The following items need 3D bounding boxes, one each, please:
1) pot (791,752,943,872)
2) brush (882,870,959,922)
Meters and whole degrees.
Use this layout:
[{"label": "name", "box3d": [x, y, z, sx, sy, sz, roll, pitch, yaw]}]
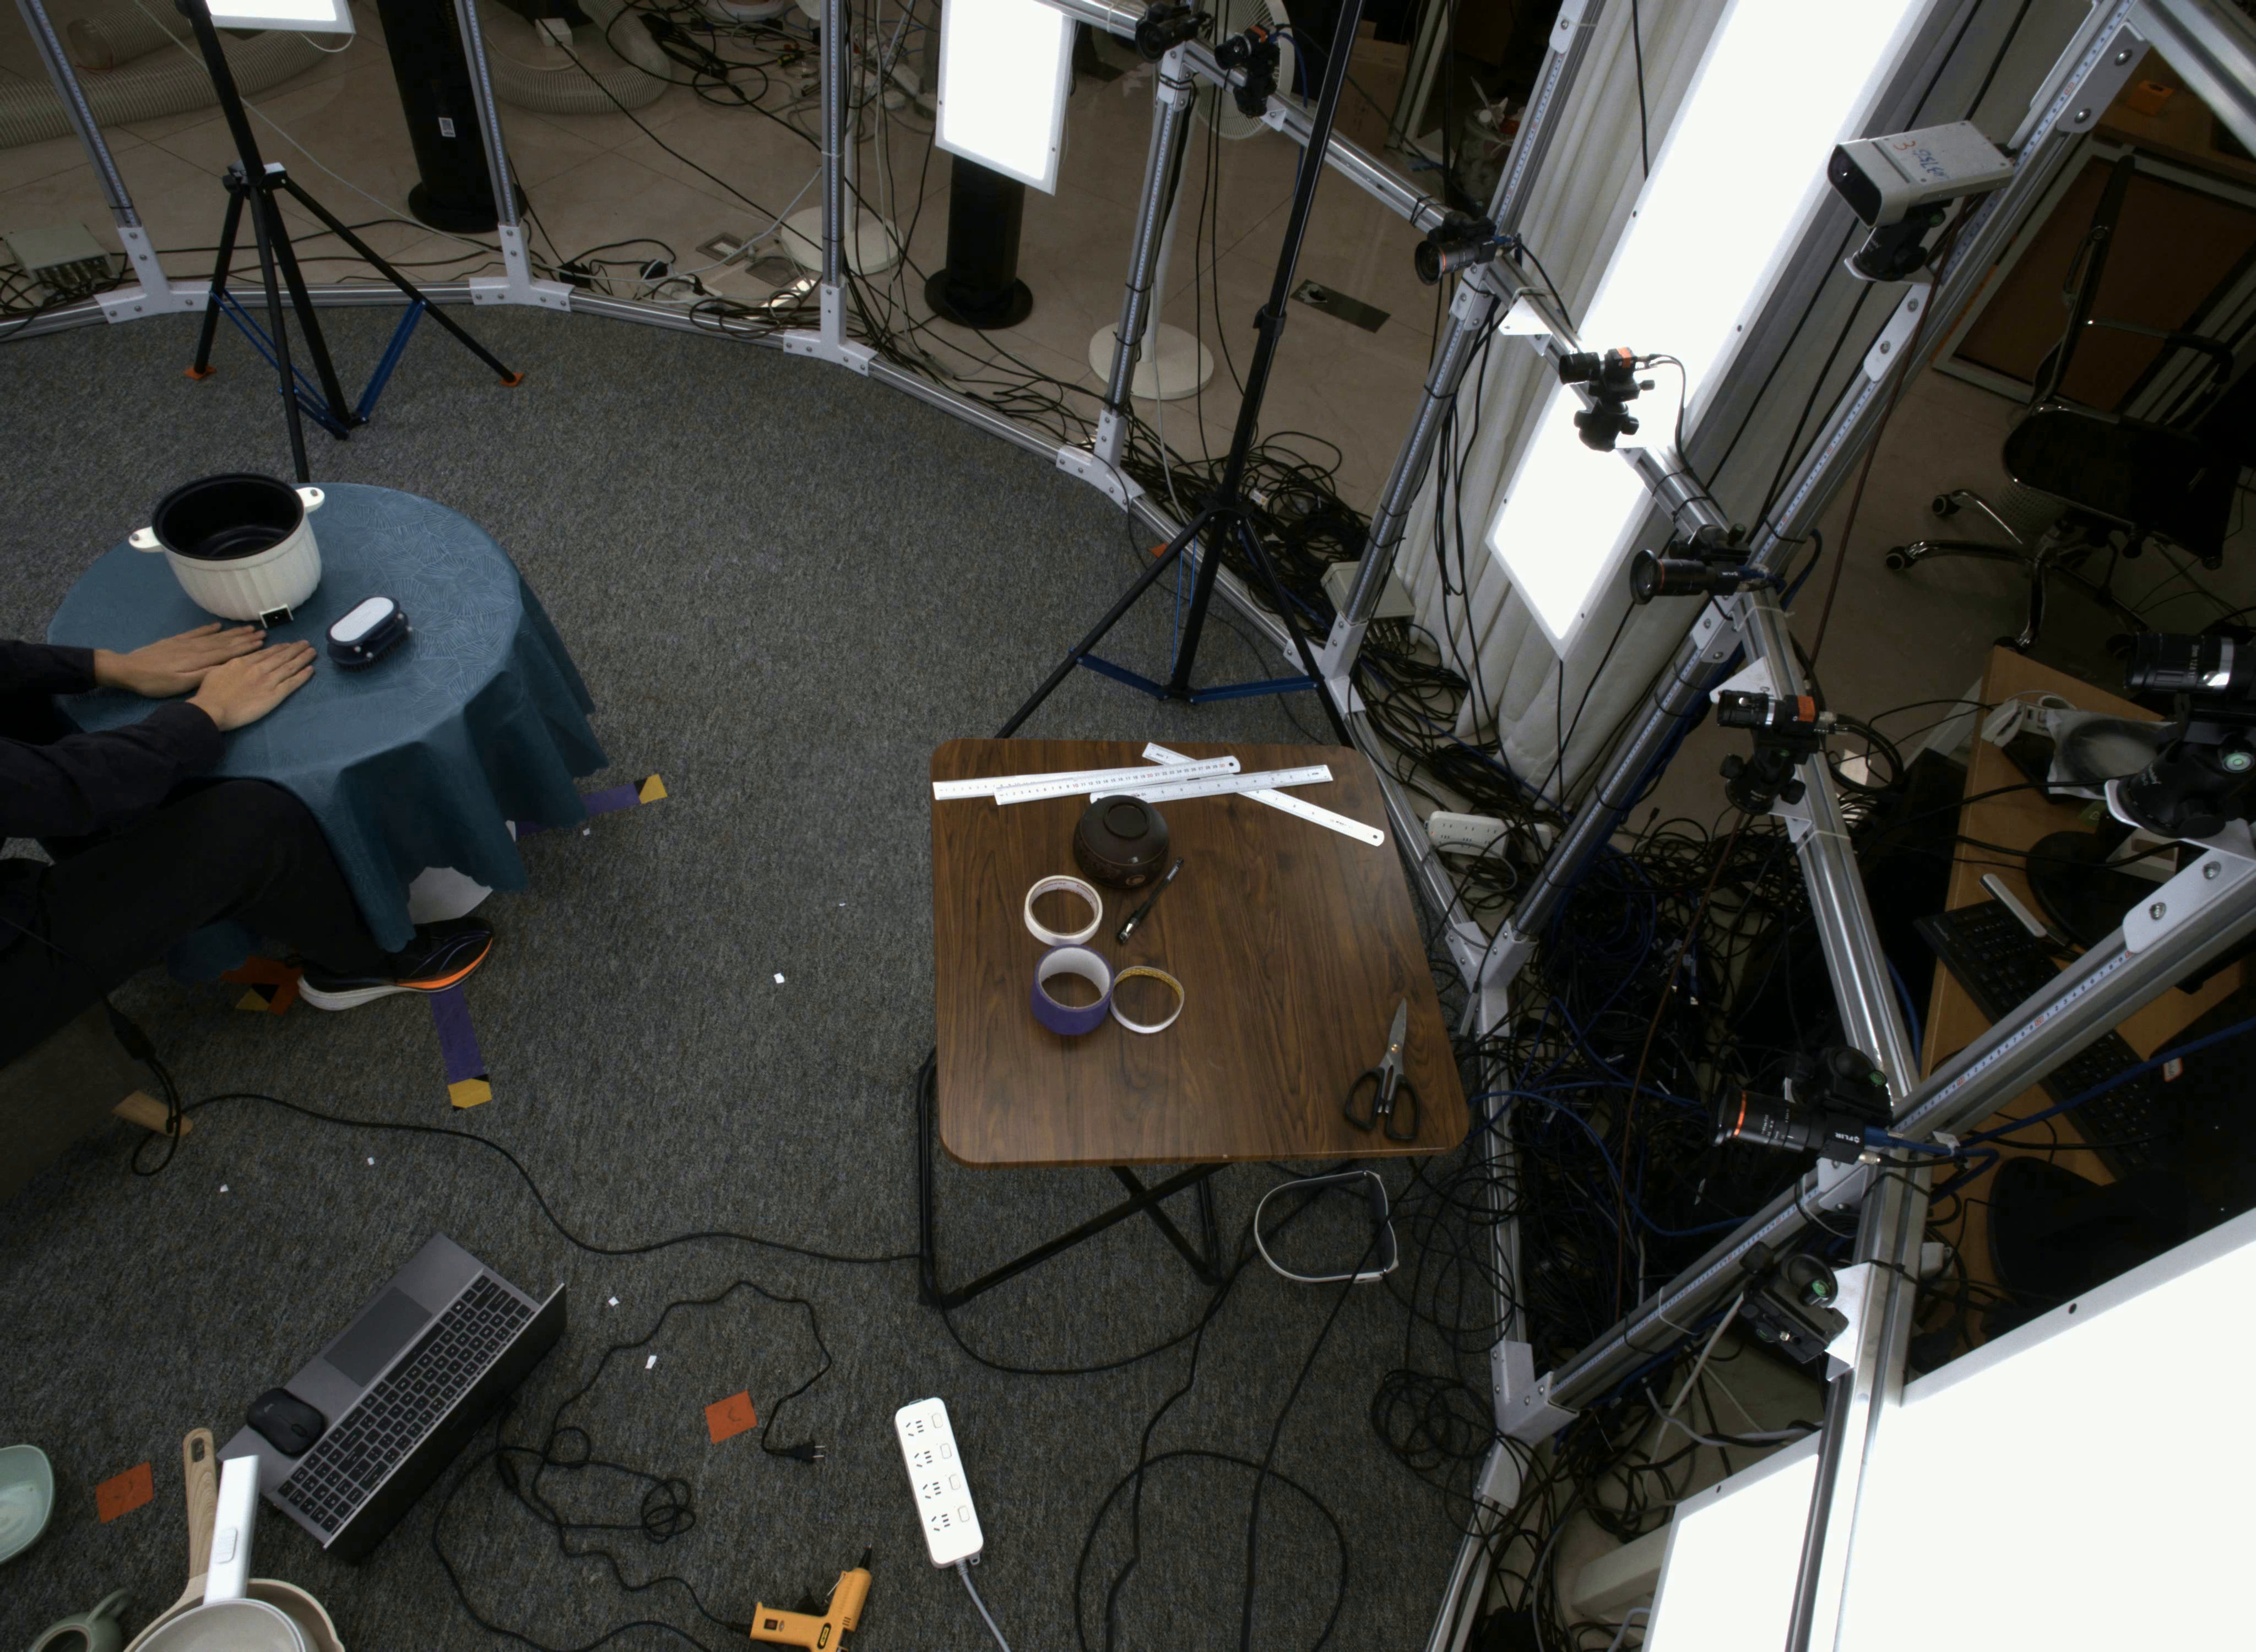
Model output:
[{"label": "pot", "box3d": [-0.423, -0.027, 2.101, 0.240, 0.146, 0.185, 4, 26, -10]}, {"label": "brush", "box3d": [-0.312, 0.105, 1.961, 0.123, 0.062, 0.065, -4, 29, -32]}]
